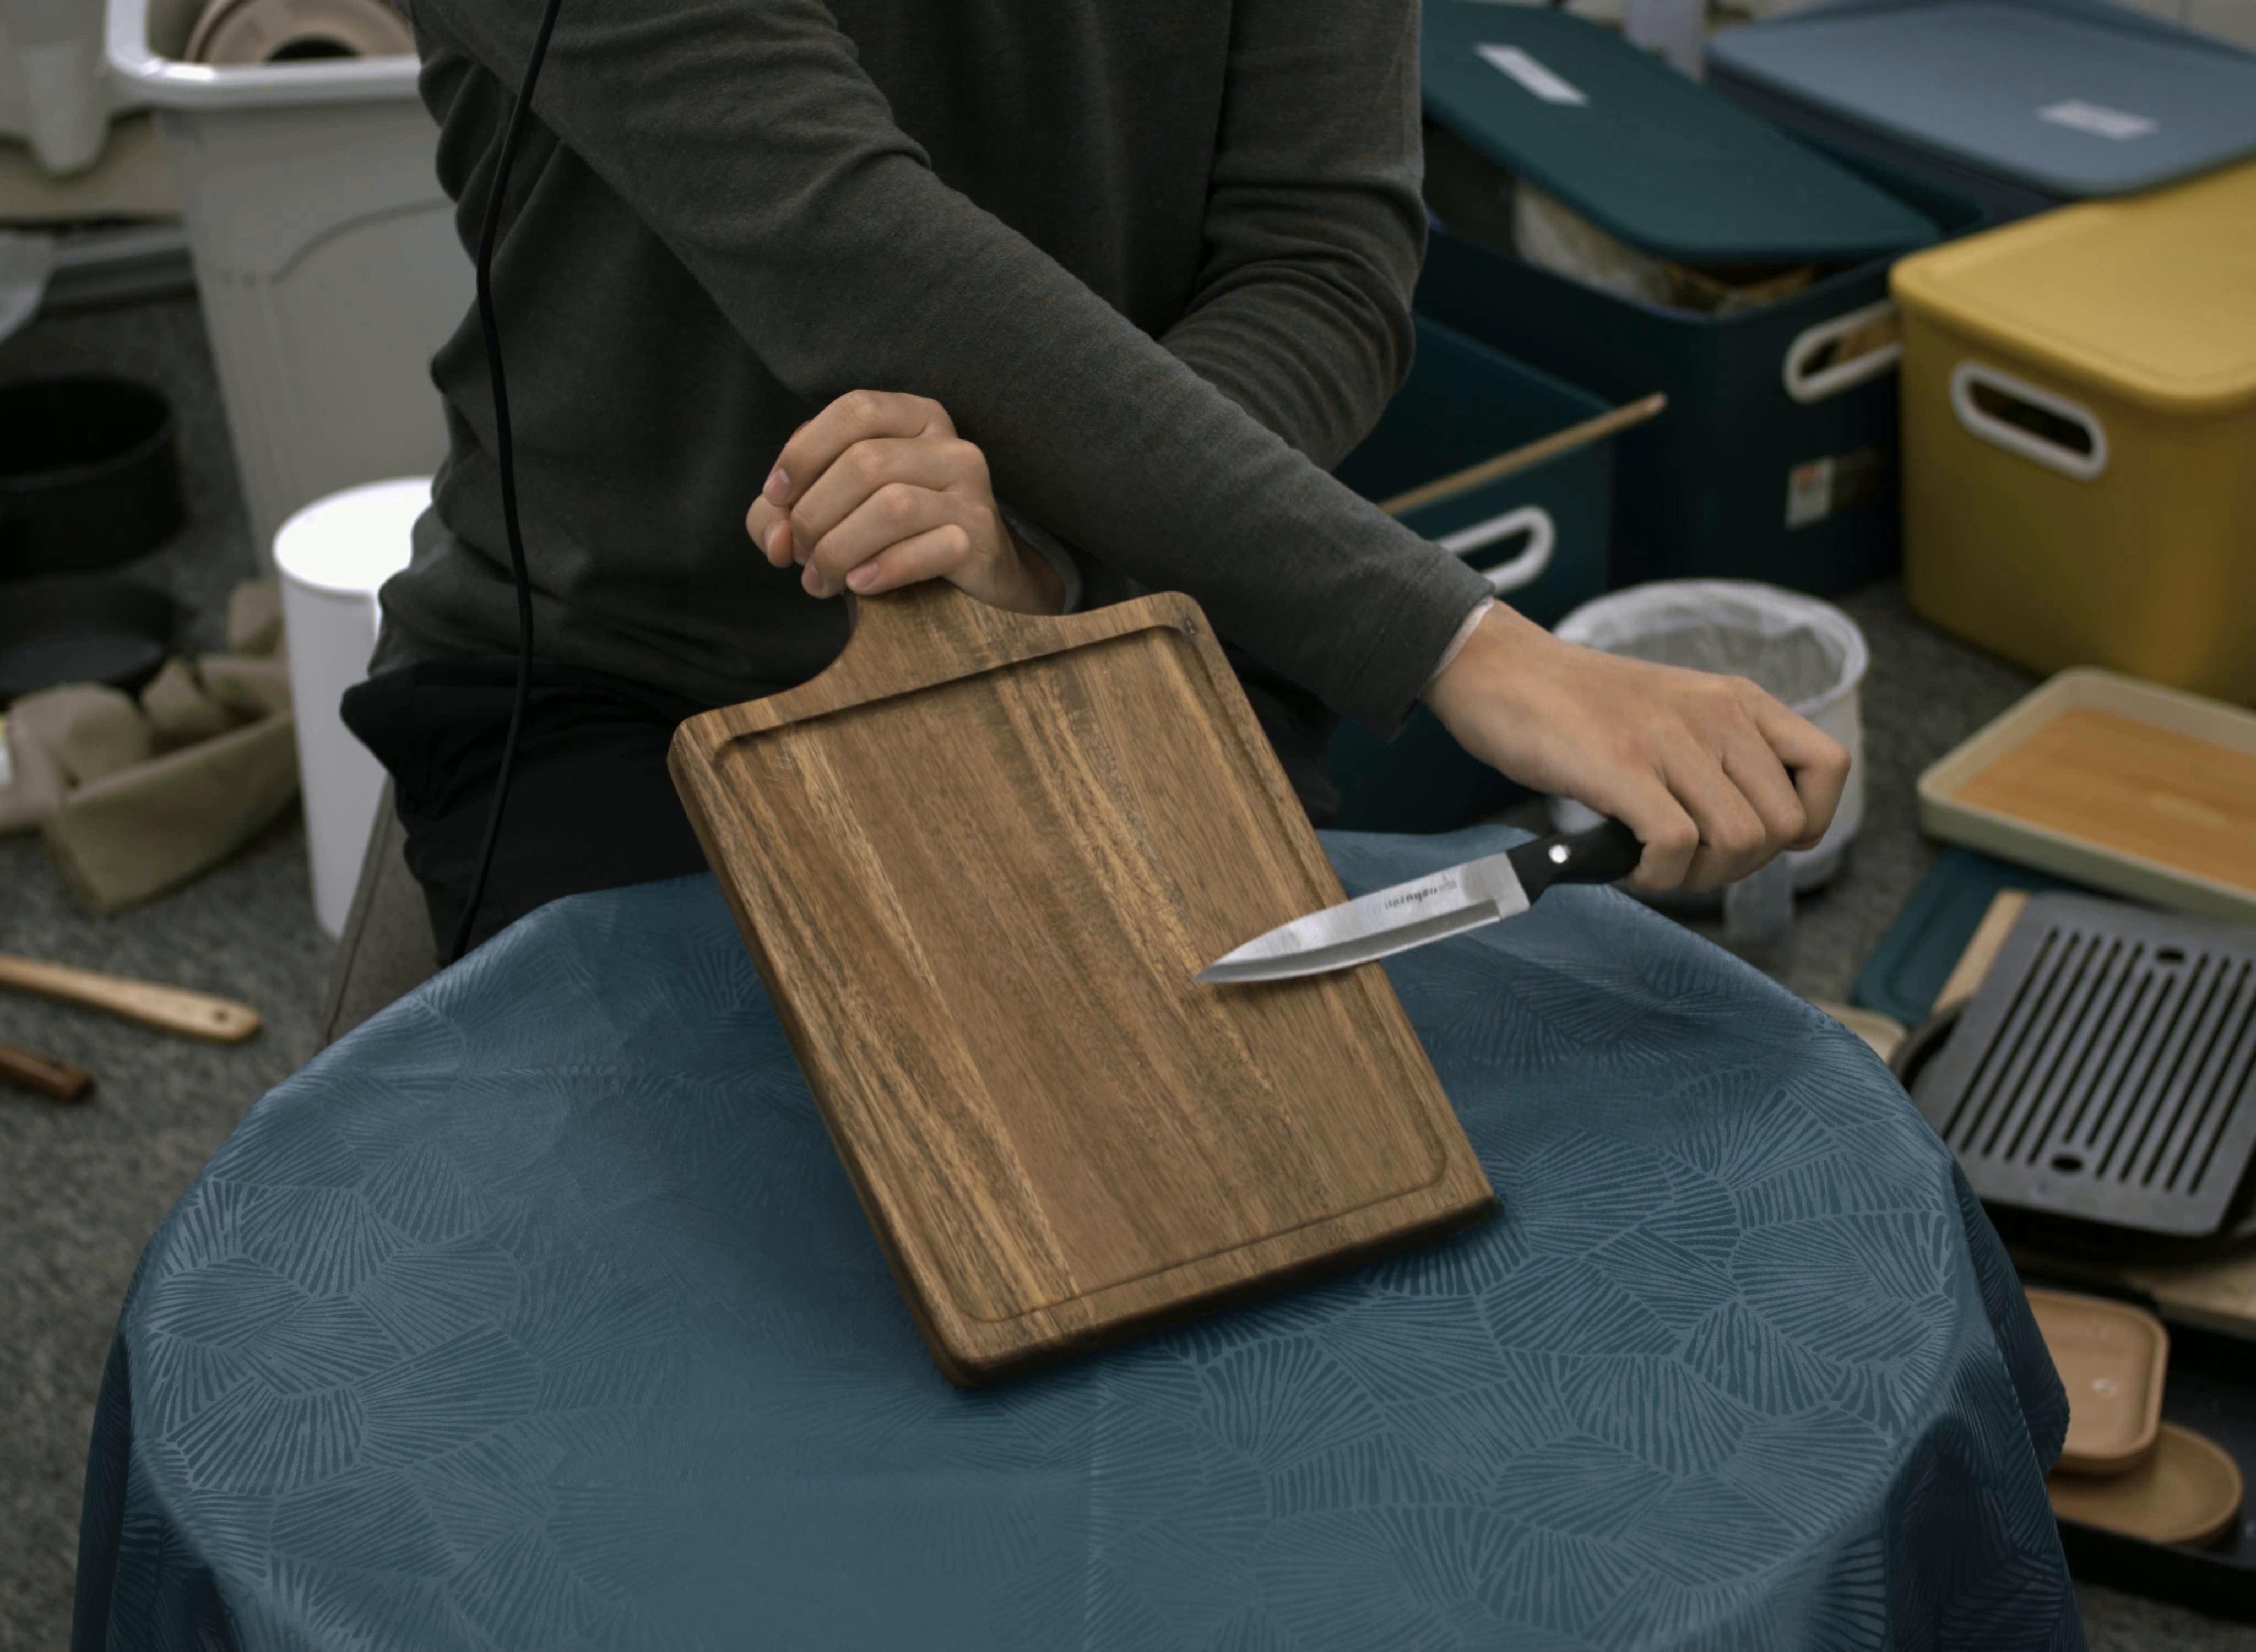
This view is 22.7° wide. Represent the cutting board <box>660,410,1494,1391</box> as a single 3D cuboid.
[{"bbox_3d":[-0.037,0.006,1.862,0.202,0.023,0.356,-15,63,-23],"label":"cutting board"}]

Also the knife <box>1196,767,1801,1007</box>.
[{"bbox_3d":[0.123,0.021,1.880,0.239,0.016,0.025,-19,72,-25],"label":"knife"}]
